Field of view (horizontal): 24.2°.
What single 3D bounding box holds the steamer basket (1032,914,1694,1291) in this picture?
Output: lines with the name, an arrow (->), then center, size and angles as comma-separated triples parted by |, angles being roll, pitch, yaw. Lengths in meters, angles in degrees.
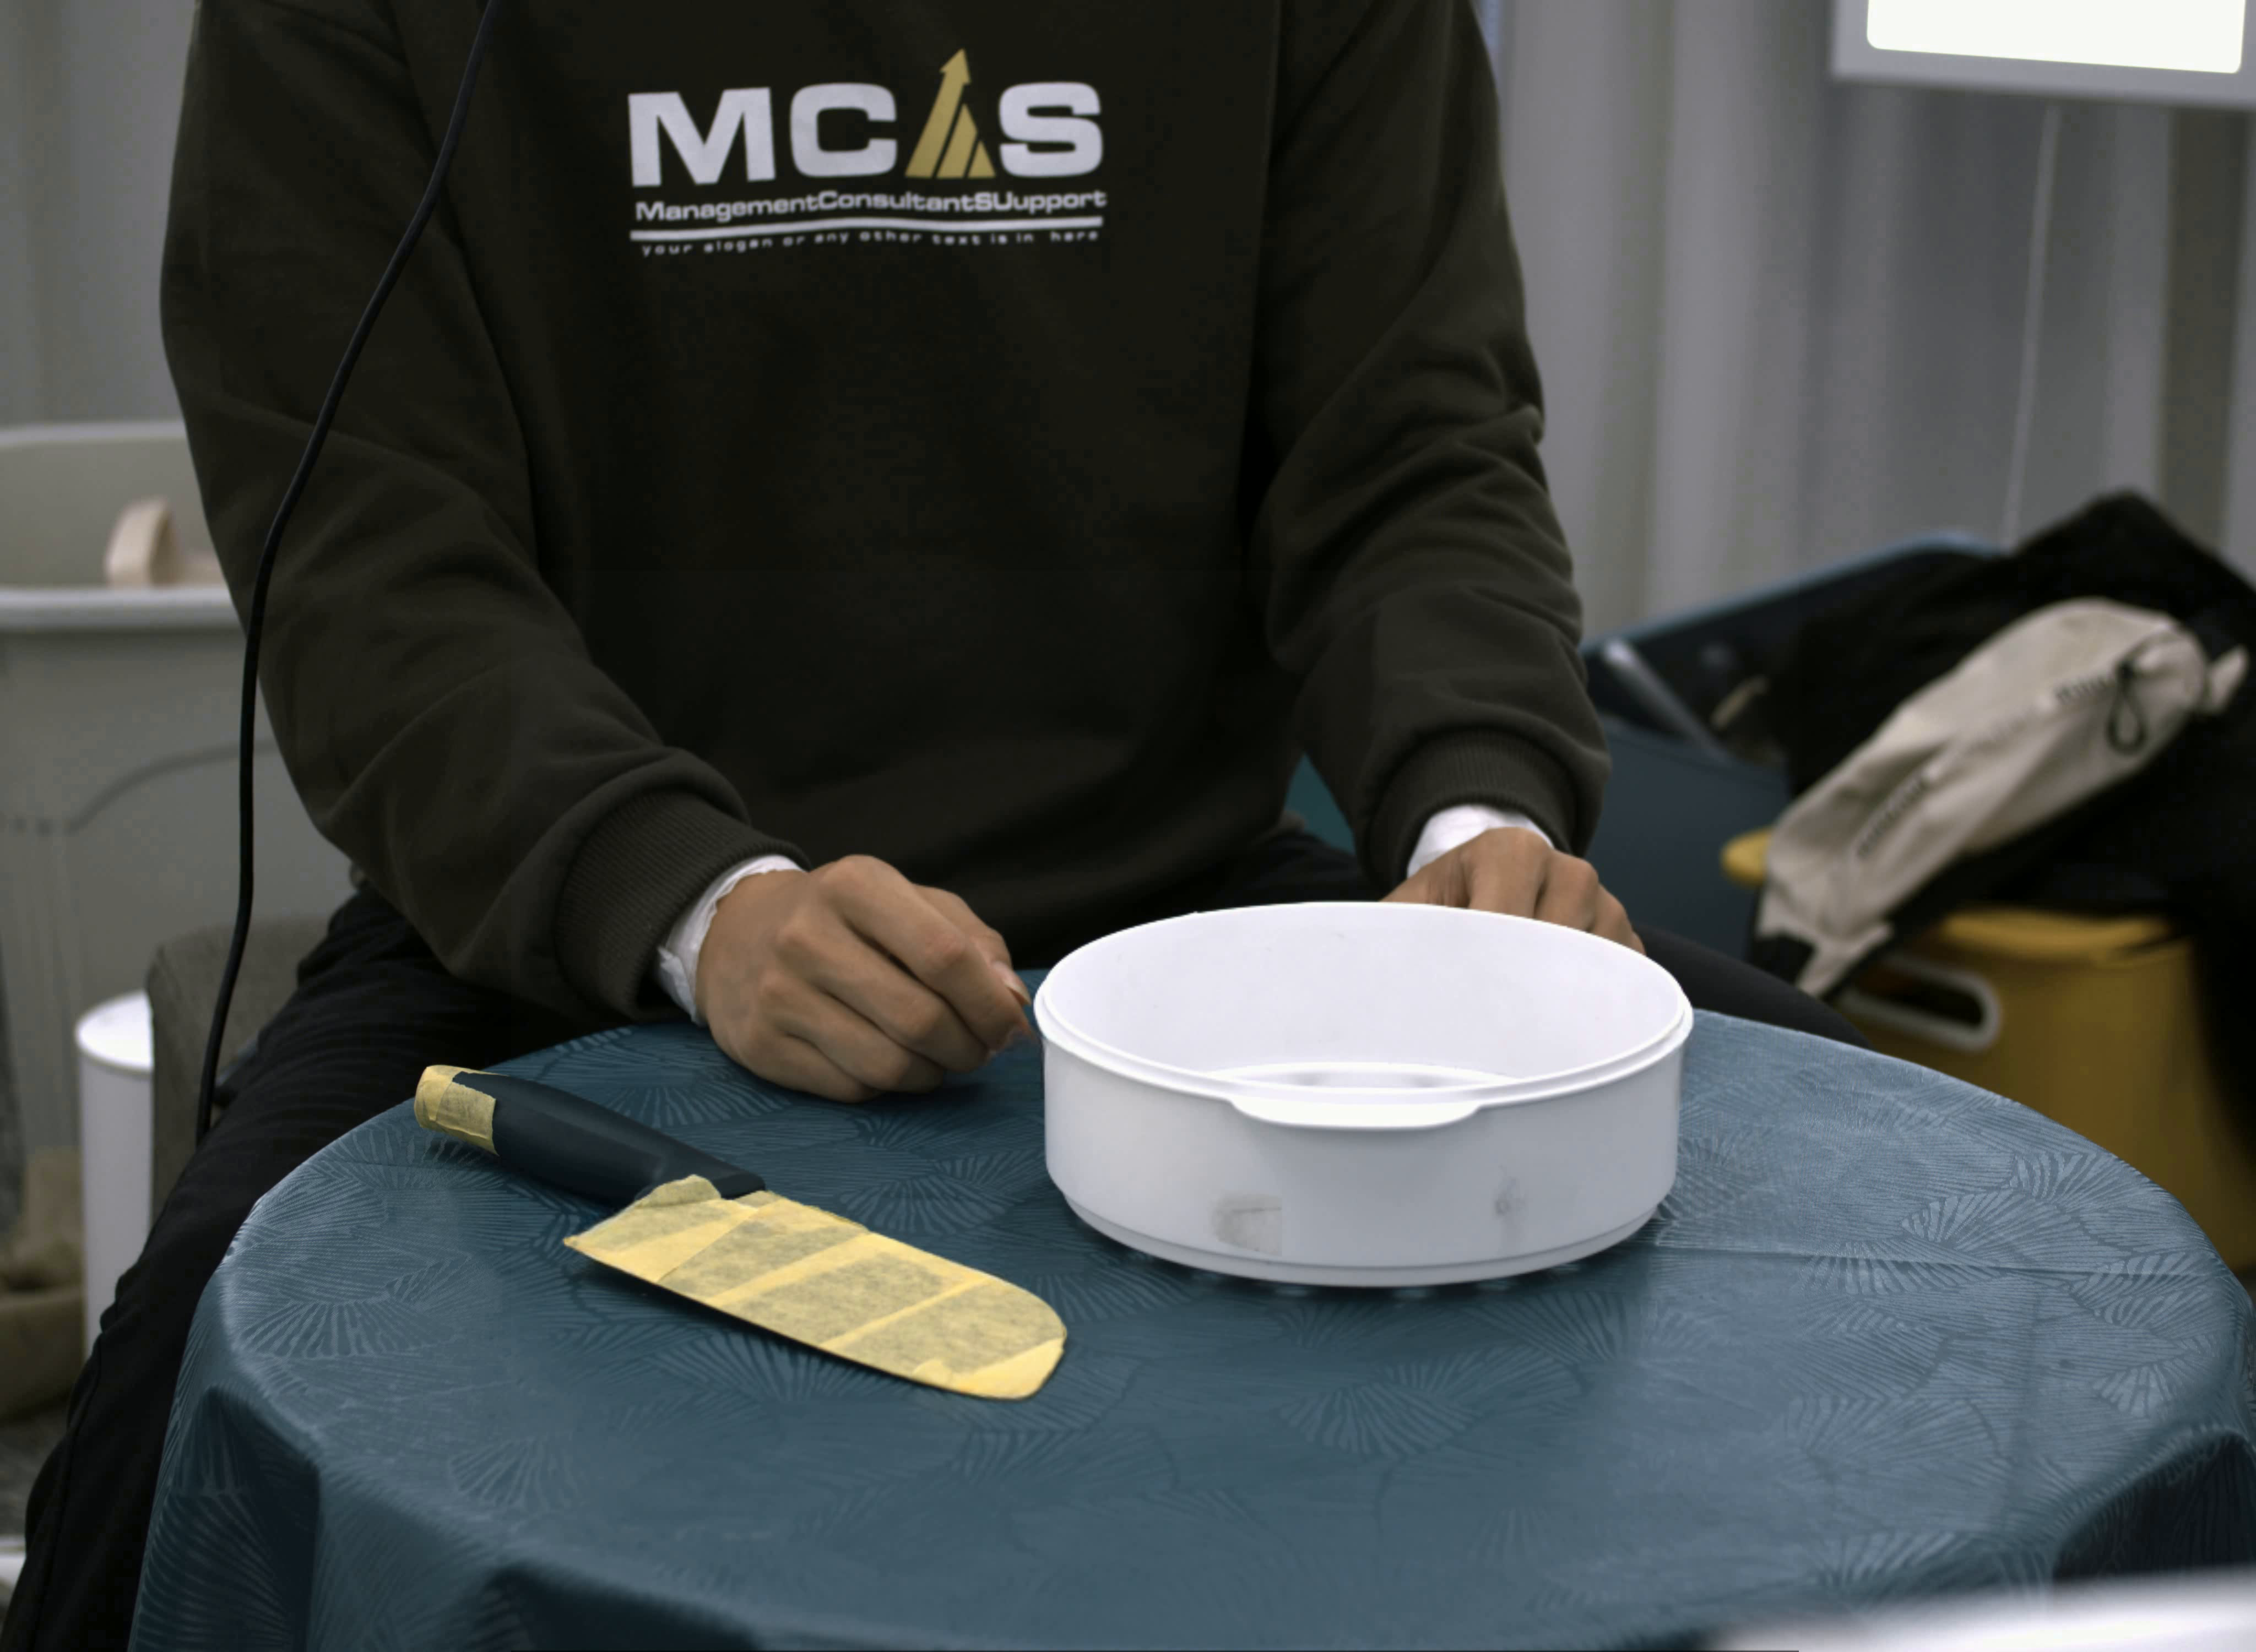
steamer basket -> 0.071, 0.084, 1.606 | 0.201, 0.070, 0.230 | 2, 14, 4

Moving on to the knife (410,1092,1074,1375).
knife -> -0.125, 0.122, 1.558 | 0.285, 0.027, 0.081 | 16, 20, 41
